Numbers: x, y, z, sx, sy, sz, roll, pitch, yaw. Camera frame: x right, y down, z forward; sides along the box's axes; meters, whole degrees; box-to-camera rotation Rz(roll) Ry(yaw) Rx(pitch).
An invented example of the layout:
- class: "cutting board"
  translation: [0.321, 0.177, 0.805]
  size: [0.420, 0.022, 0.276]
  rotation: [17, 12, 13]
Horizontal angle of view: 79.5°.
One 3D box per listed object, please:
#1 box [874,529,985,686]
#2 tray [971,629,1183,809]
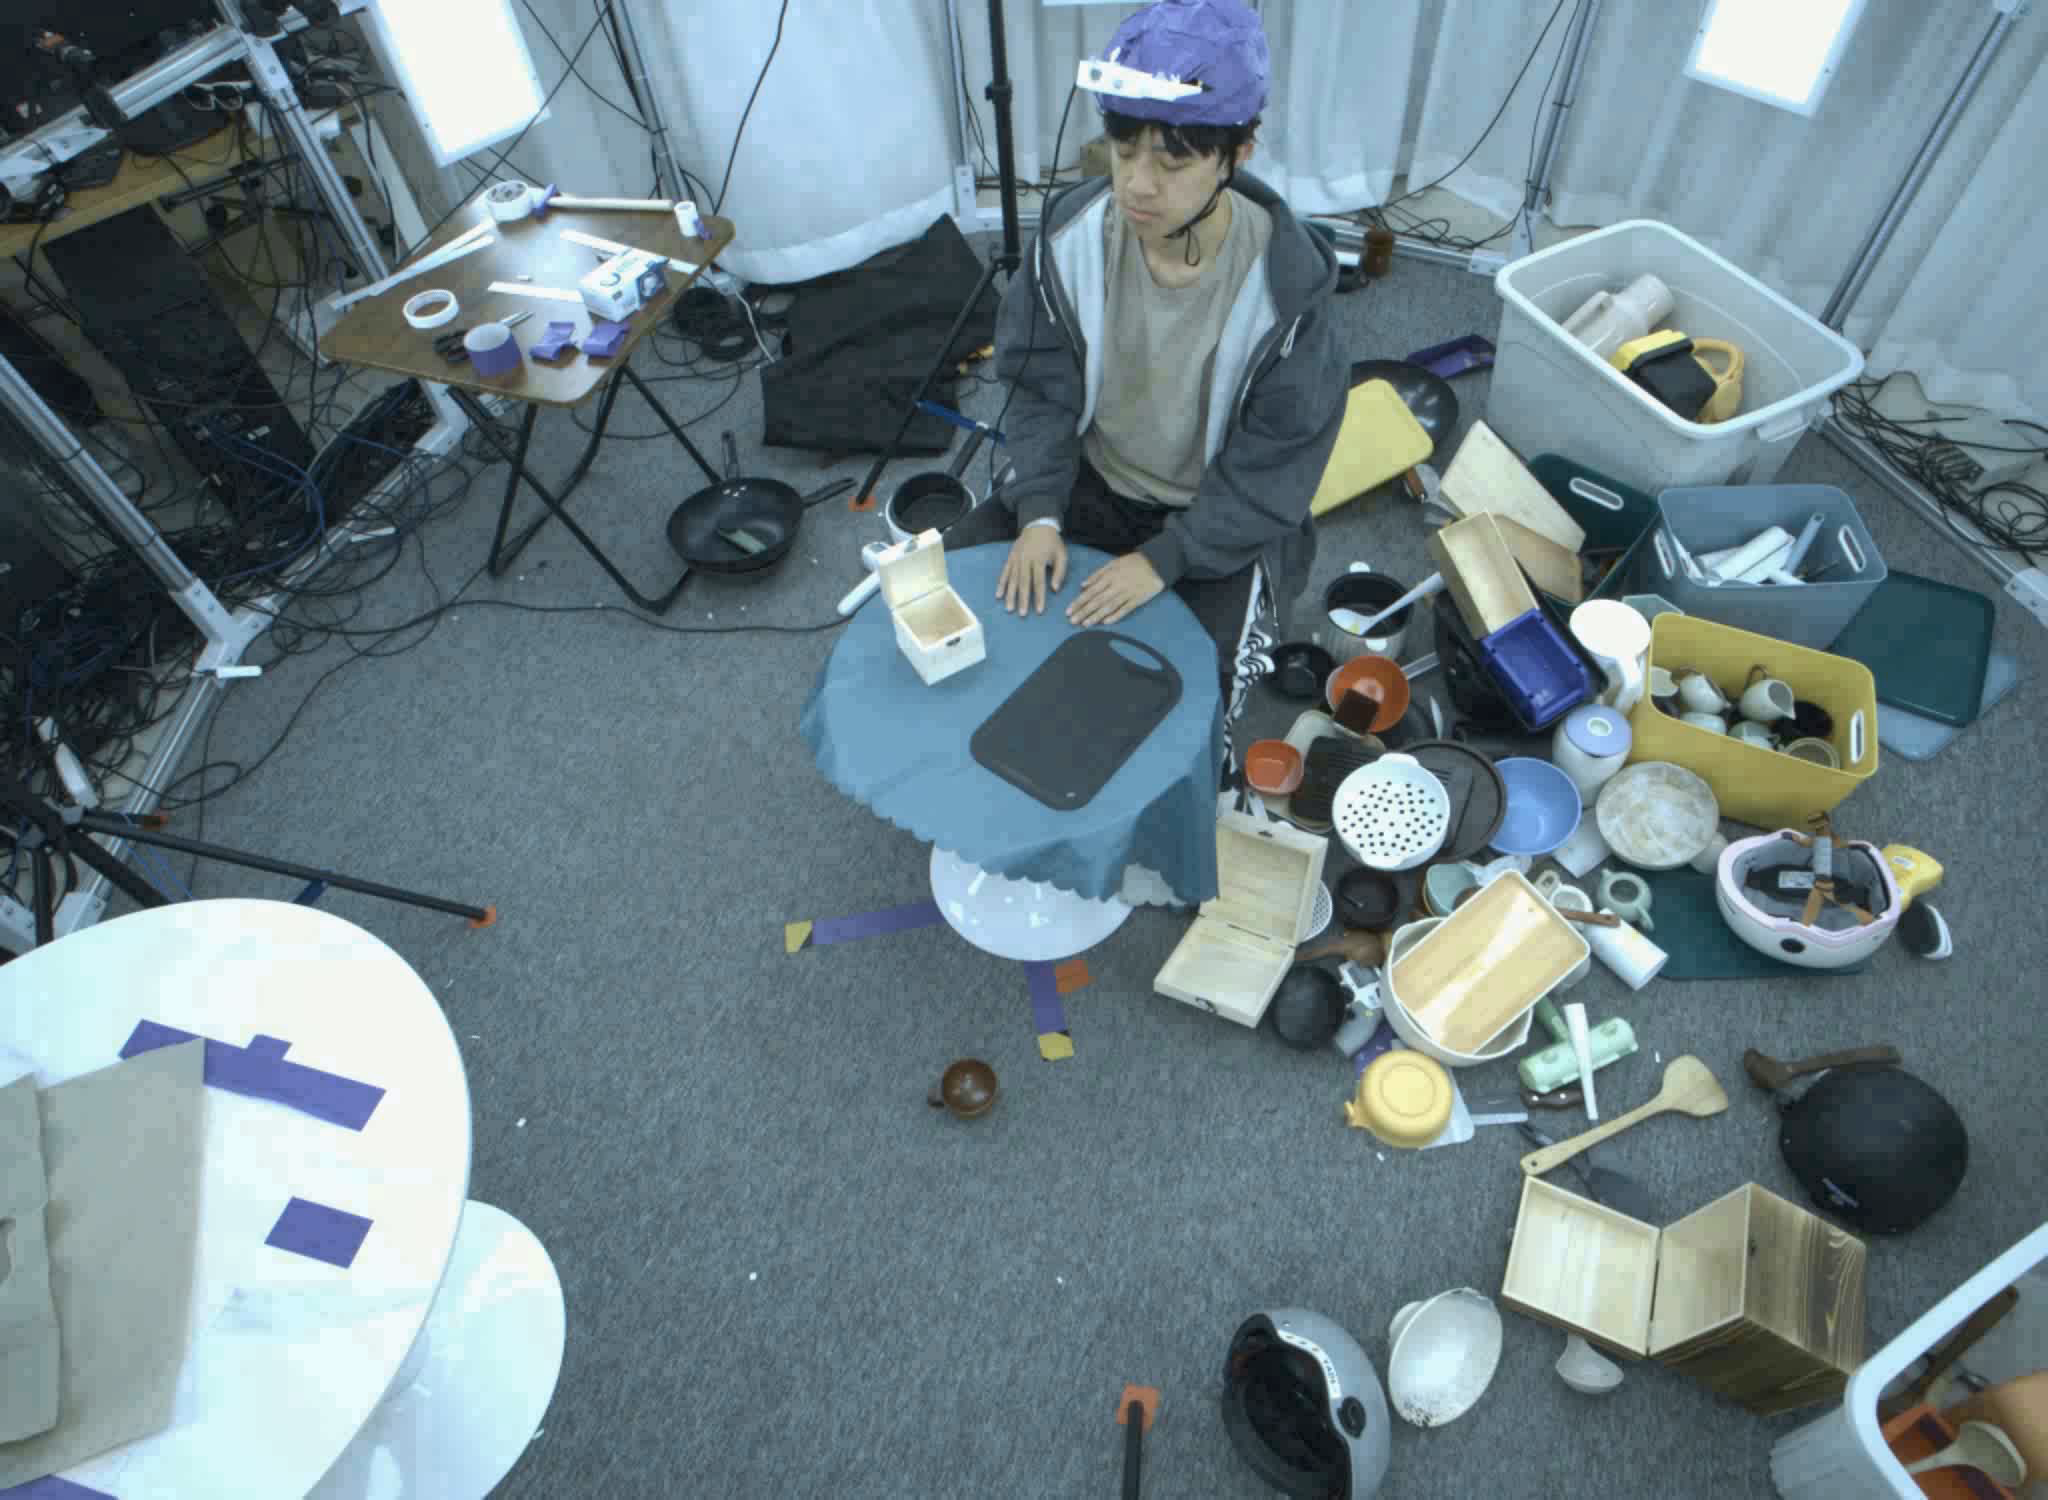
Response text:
- class: "box"
  translation: [-0.139, -0.213, 1.832]
  size: [0.103, 0.186, 0.131]
  rotation: [-29, 56, -16]
- class: "tray"
  translation: [0.085, -0.060, 1.825]
  size: [0.207, 0.010, 0.327]
  rotation: [33, 62, 22]
